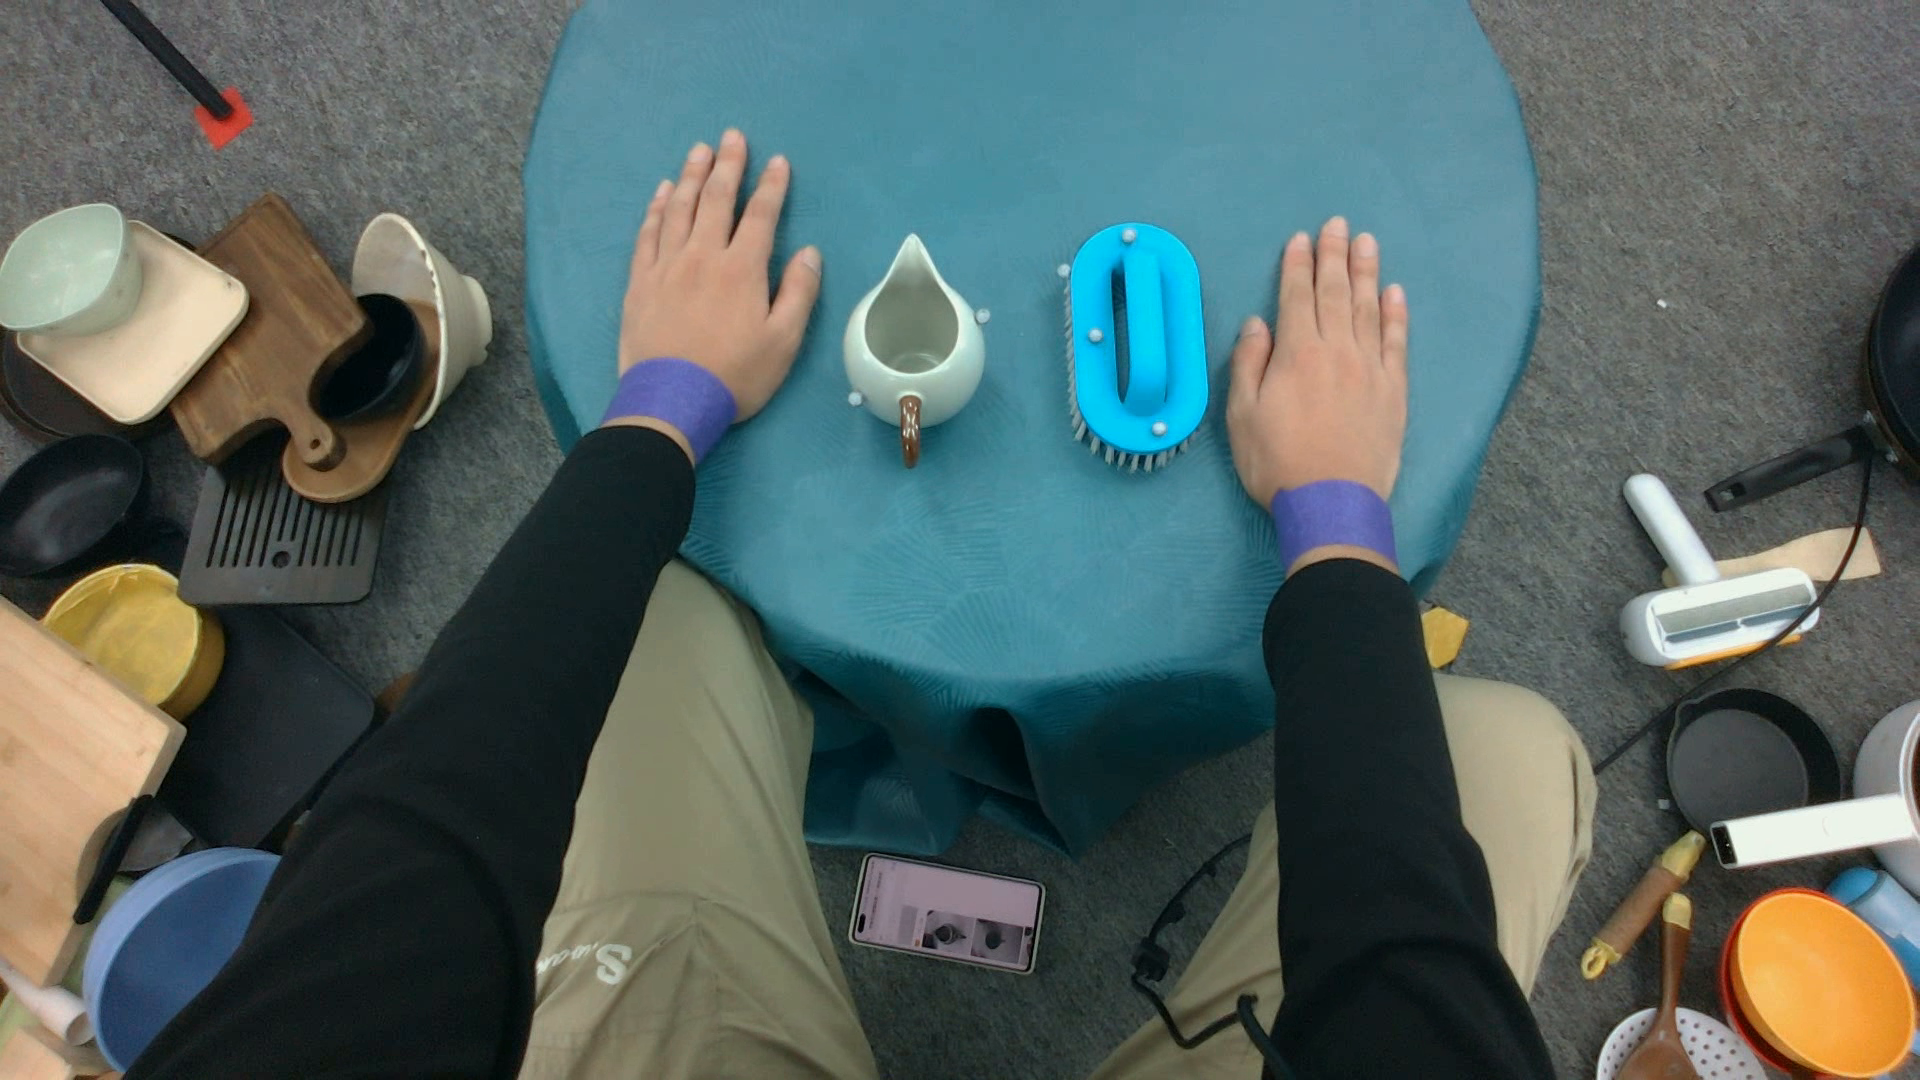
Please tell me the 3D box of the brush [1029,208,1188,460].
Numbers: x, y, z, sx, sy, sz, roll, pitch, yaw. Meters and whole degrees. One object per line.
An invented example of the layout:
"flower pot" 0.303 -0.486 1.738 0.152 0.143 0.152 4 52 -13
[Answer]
"brush" 0.084 -0.120 0.757 0.084 0.063 0.142 1 74 -5

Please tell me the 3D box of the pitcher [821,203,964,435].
"pitcher" -0.036 -0.106 0.739 0.076 0.087 0.119 2 70 6
